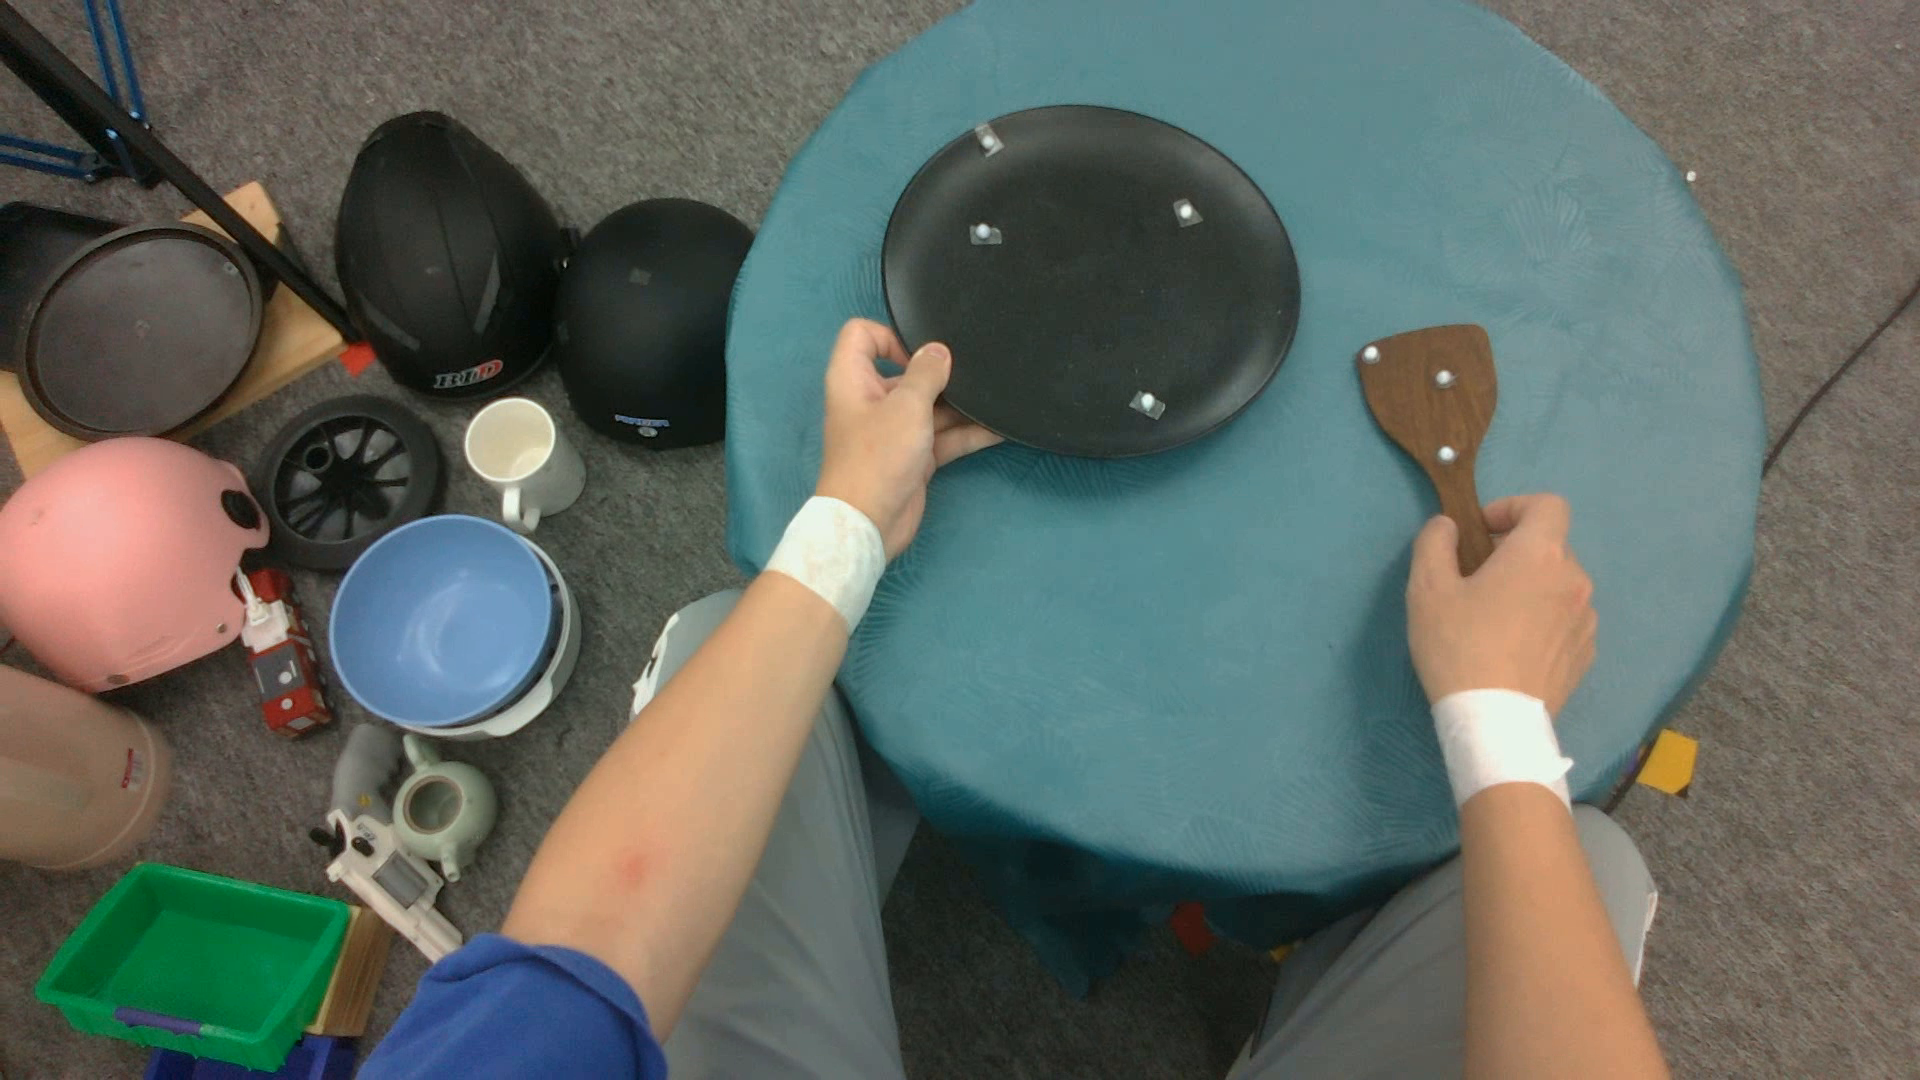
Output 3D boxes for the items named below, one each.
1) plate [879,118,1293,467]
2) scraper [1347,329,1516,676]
[{"bbox_3d":[0.074,-0.148,0.814,0.244,0.023,0.245,1,65,-3],"label":"plate"},{"bbox_3d":[0.271,-0.025,0.767,0.076,0.011,0.212,-9,64,10],"label":"scraper"}]
